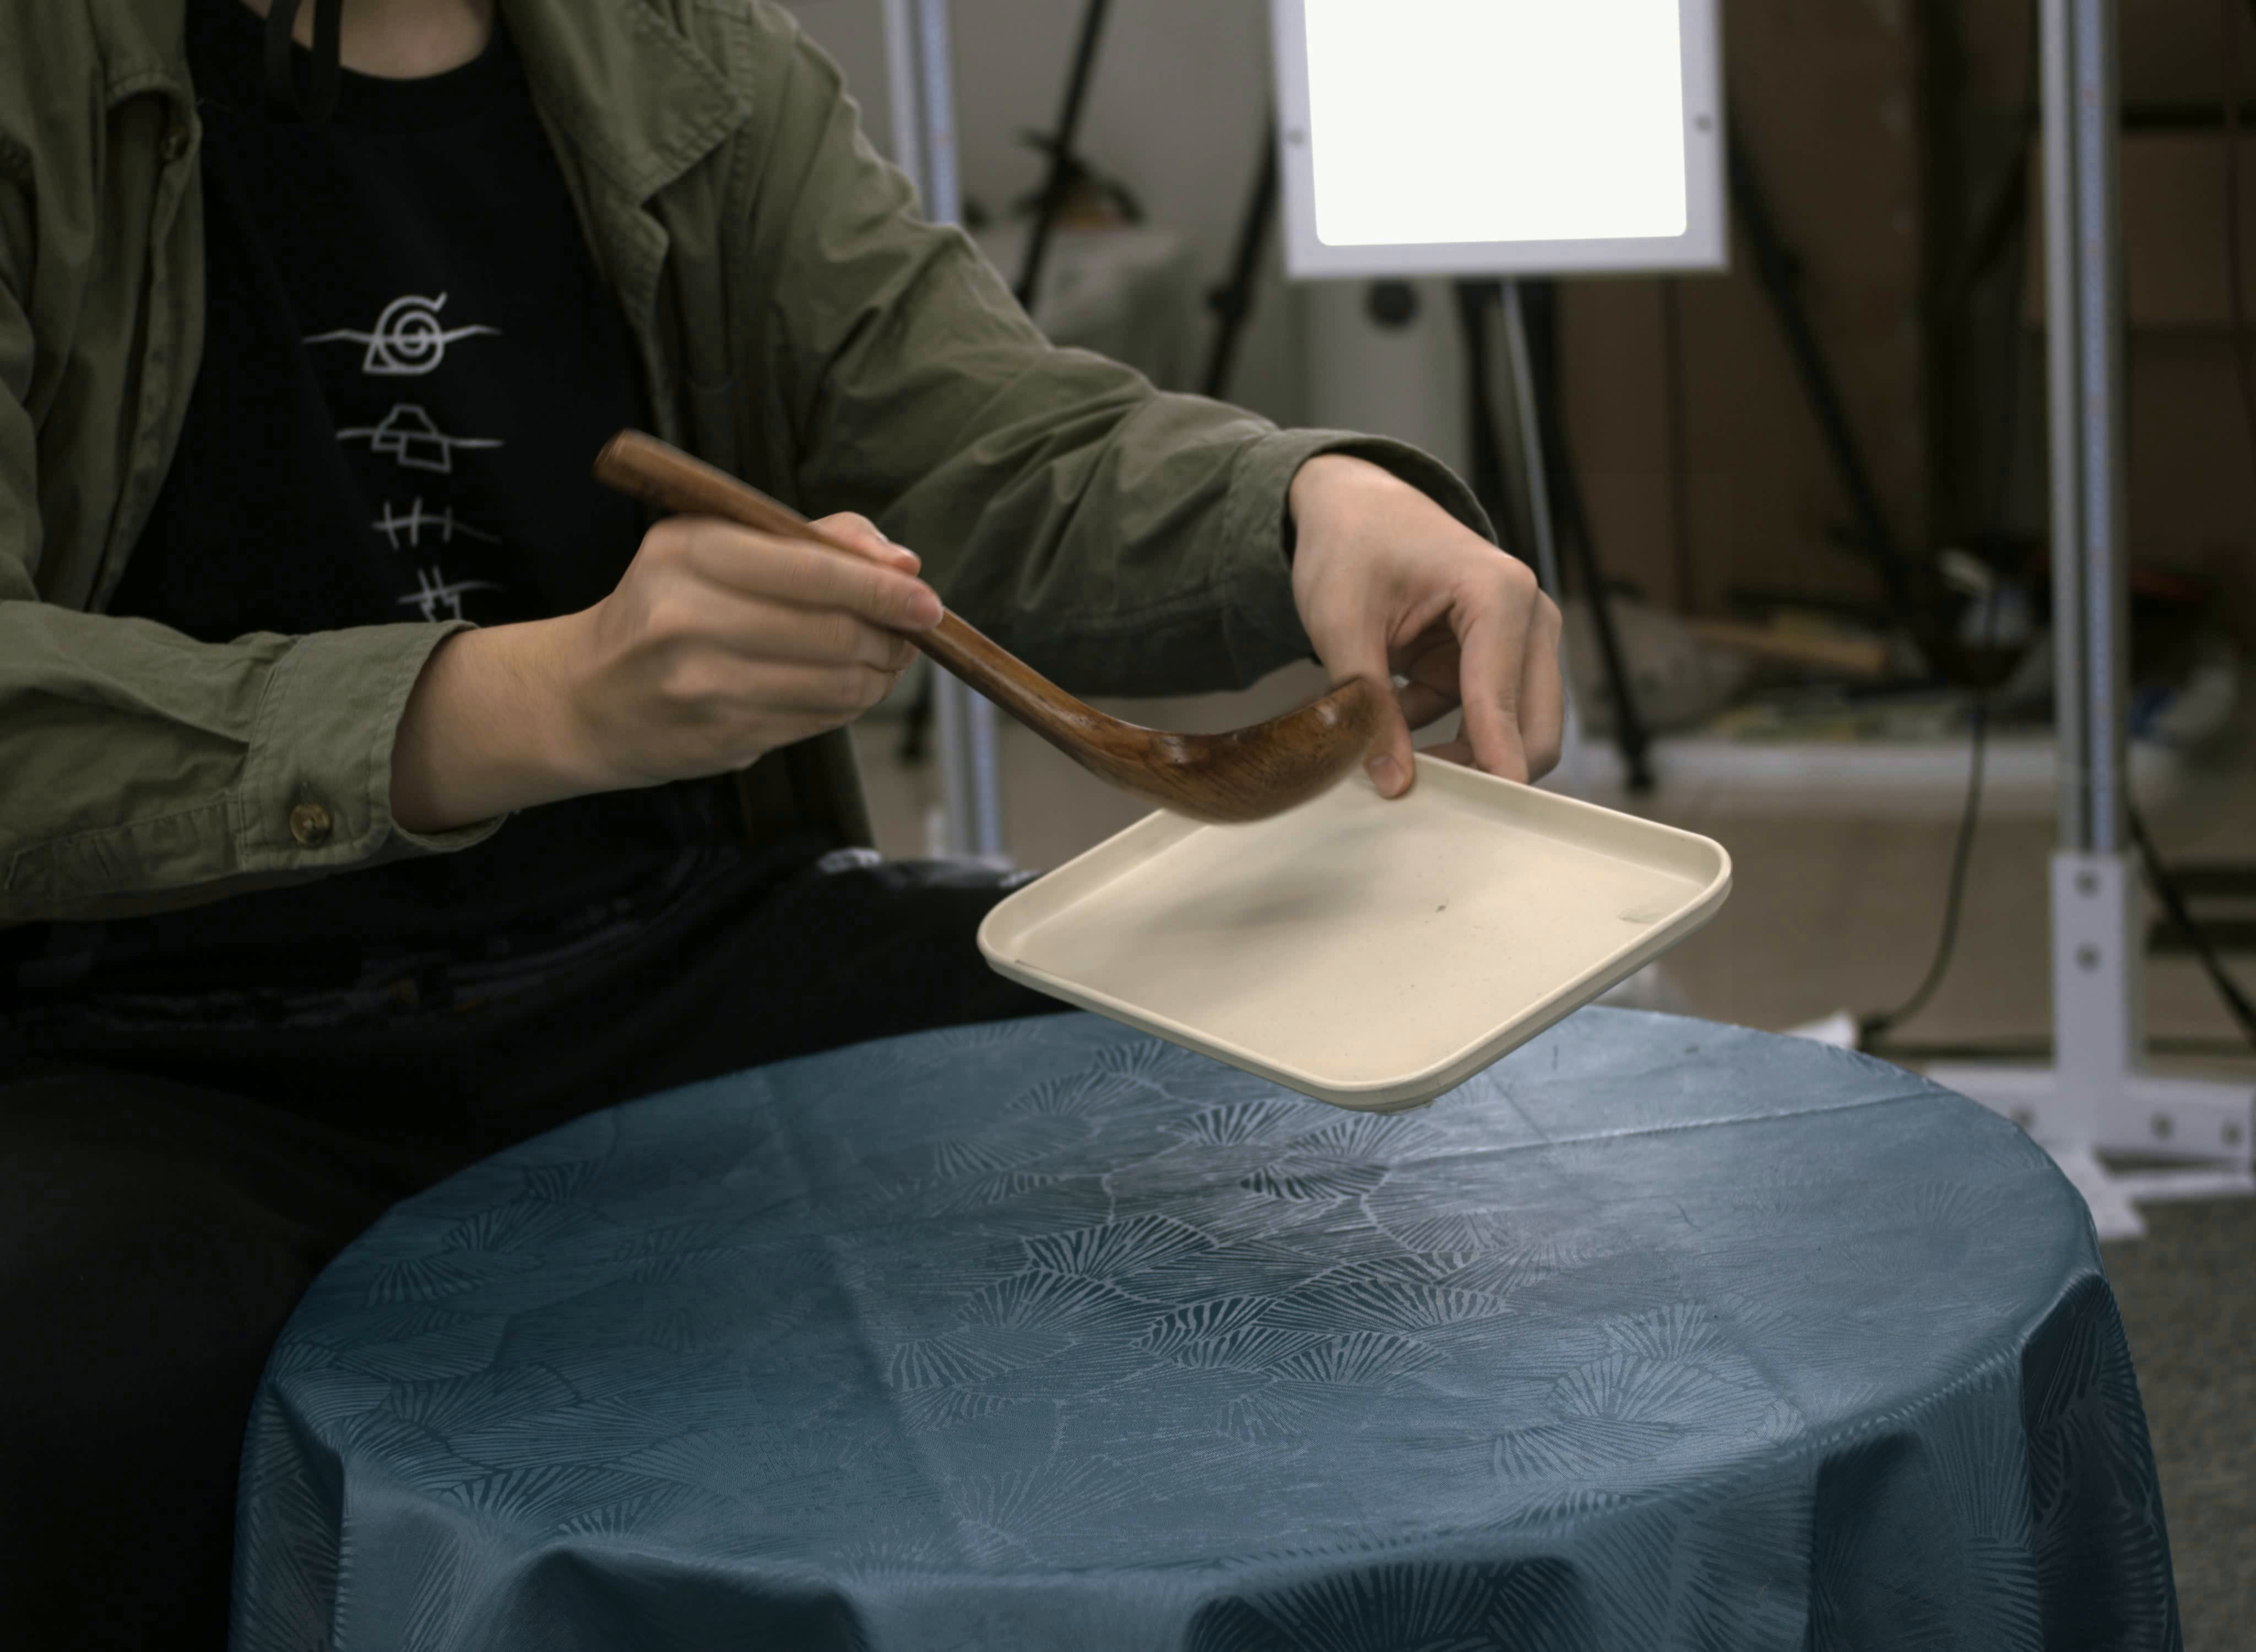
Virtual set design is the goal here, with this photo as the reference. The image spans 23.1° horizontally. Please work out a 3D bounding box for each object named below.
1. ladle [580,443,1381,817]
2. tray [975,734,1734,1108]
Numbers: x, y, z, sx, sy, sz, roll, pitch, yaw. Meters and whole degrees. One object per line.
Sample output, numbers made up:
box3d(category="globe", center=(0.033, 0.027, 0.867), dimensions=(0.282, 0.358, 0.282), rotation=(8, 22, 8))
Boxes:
box3d(category="ladle", center=(-0.043, -0.080, 1.801), dimensions=(0.272, 0.076, 0.083), rotation=(29, -25, -9))
box3d(category="tray", center=(0.073, 0.029, 1.806), dimensions=(0.168, 0.017, 0.244), rotation=(-31, 27, -26))
